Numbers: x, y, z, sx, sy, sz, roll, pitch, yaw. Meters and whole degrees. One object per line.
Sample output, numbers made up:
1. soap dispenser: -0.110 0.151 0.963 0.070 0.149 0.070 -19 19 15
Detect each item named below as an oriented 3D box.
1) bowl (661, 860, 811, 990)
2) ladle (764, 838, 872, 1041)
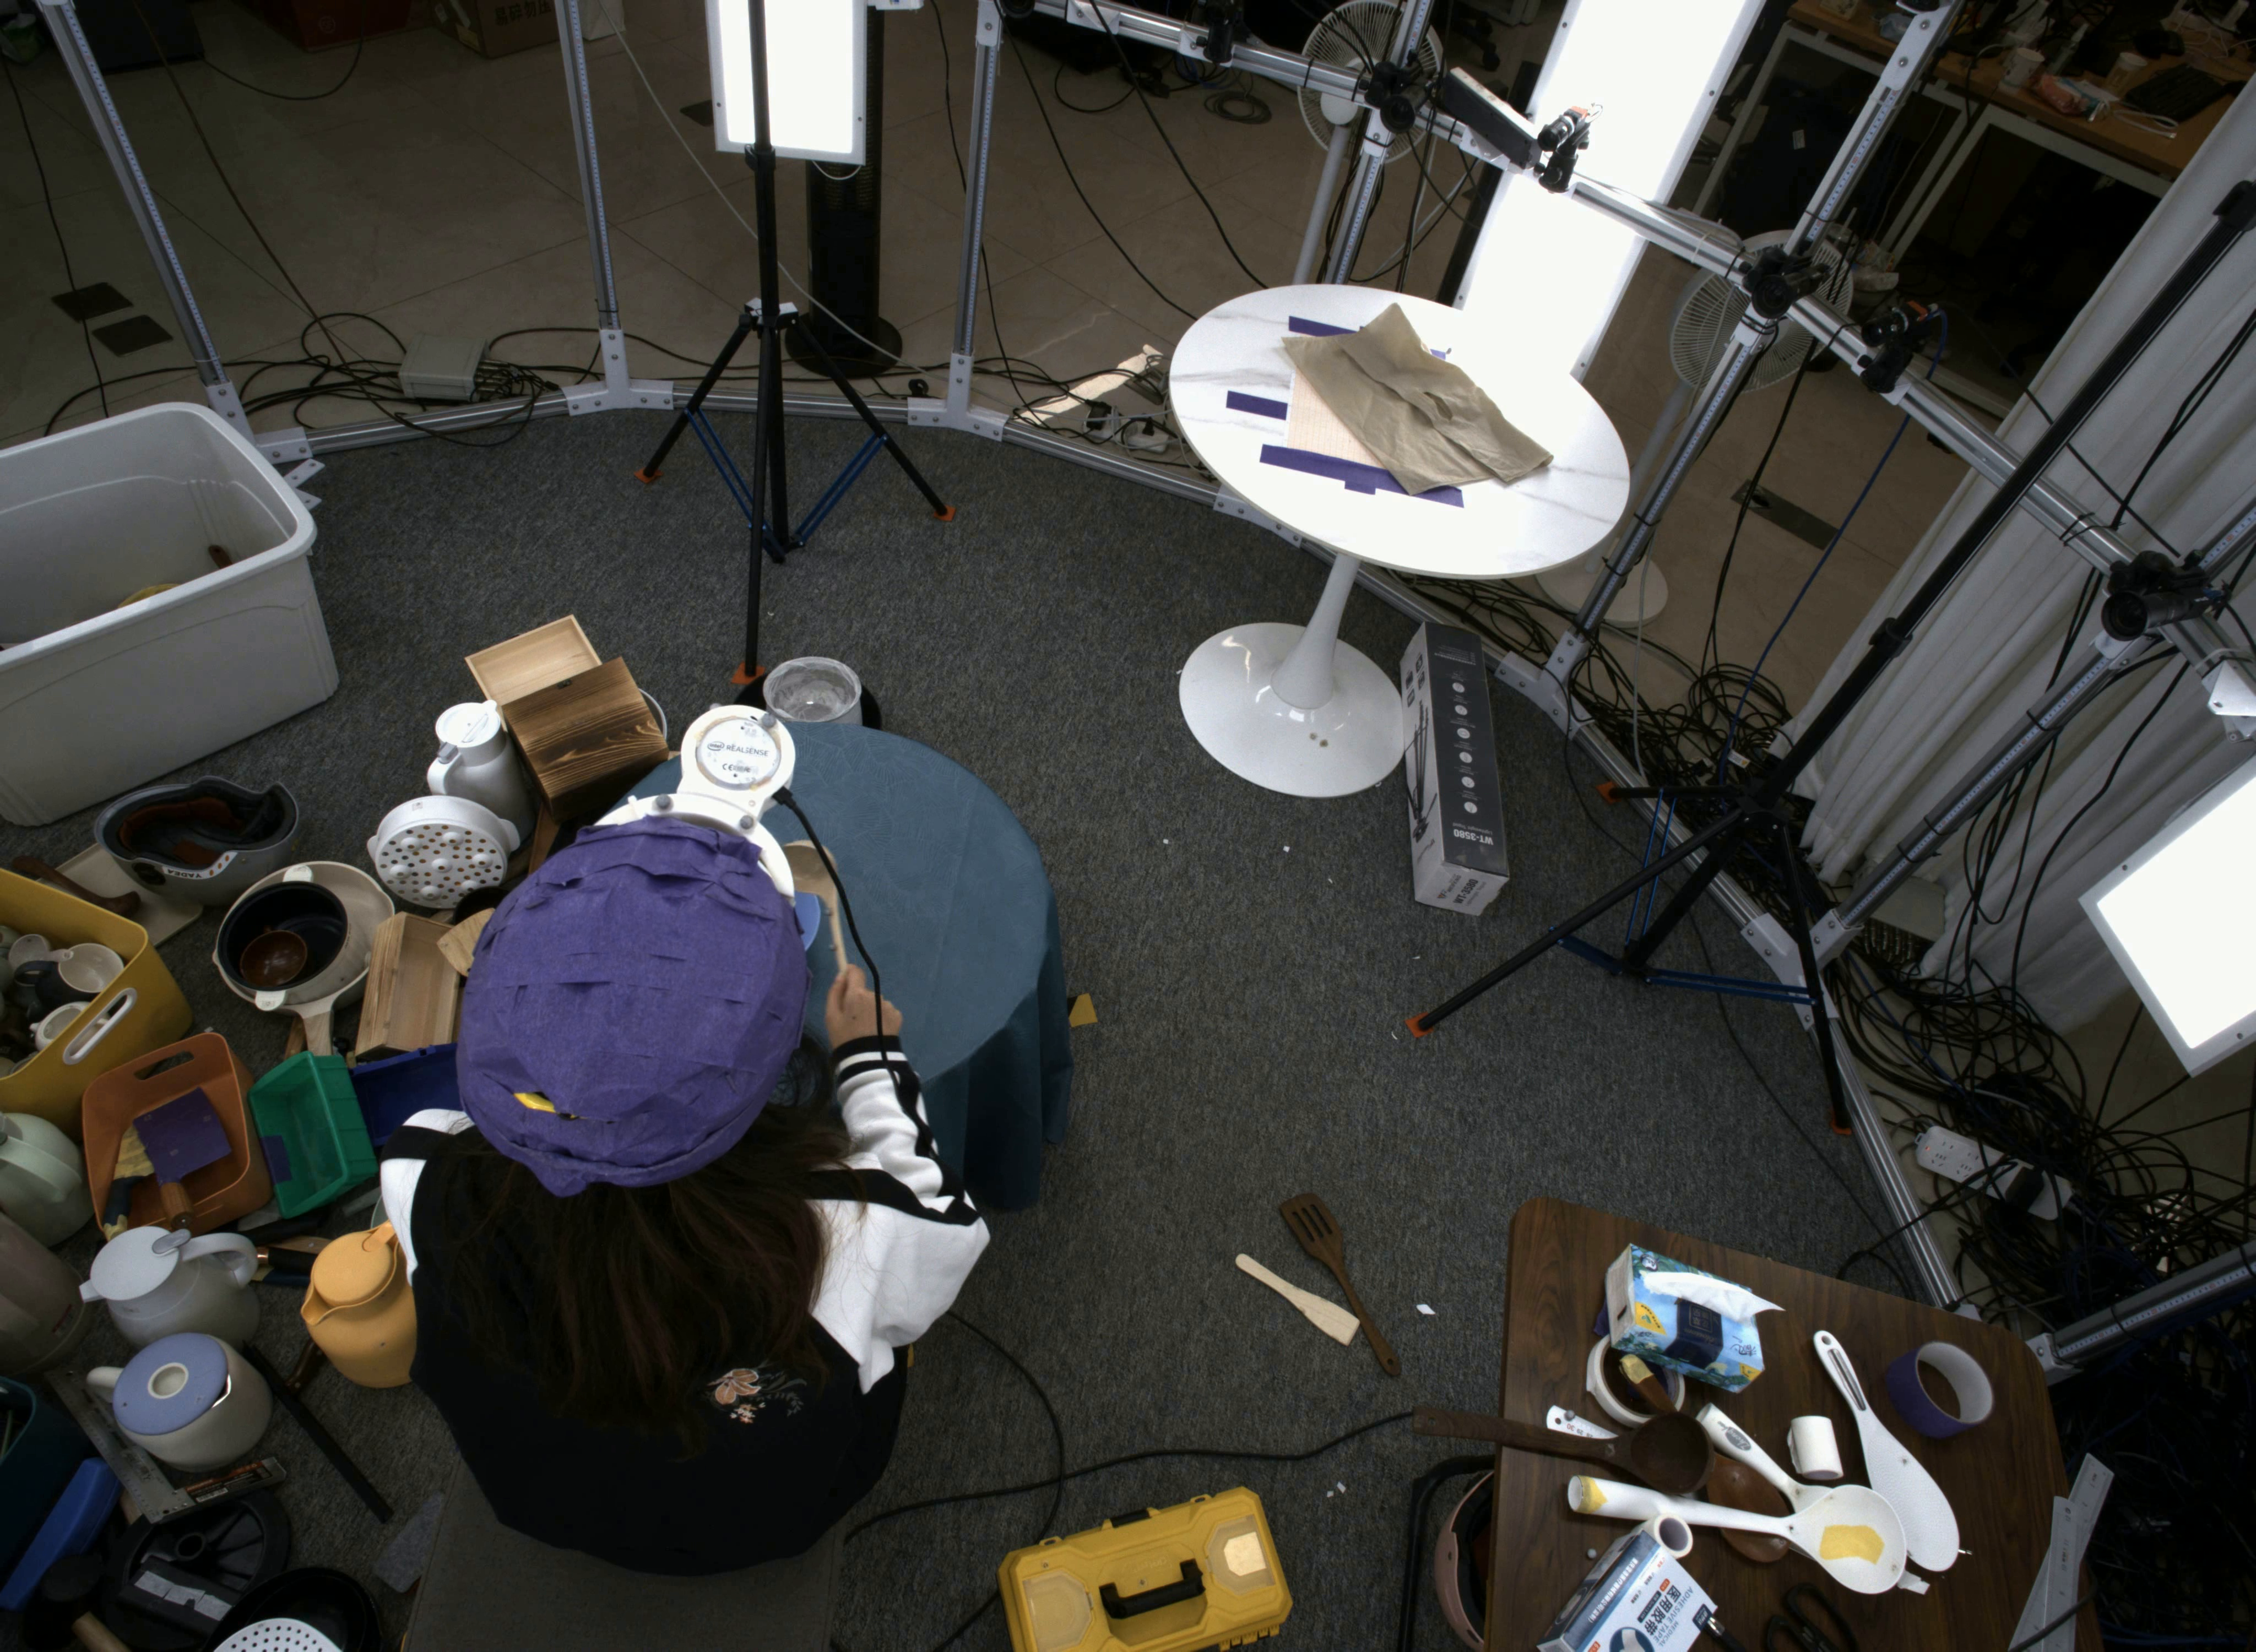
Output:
1. bowl: -0.471 0.129 1.565 0.175 0.072 0.173 7 52 -8
2. ladle: -0.349 0.124 1.454 0.075 0.072 0.248 21 38 -51
